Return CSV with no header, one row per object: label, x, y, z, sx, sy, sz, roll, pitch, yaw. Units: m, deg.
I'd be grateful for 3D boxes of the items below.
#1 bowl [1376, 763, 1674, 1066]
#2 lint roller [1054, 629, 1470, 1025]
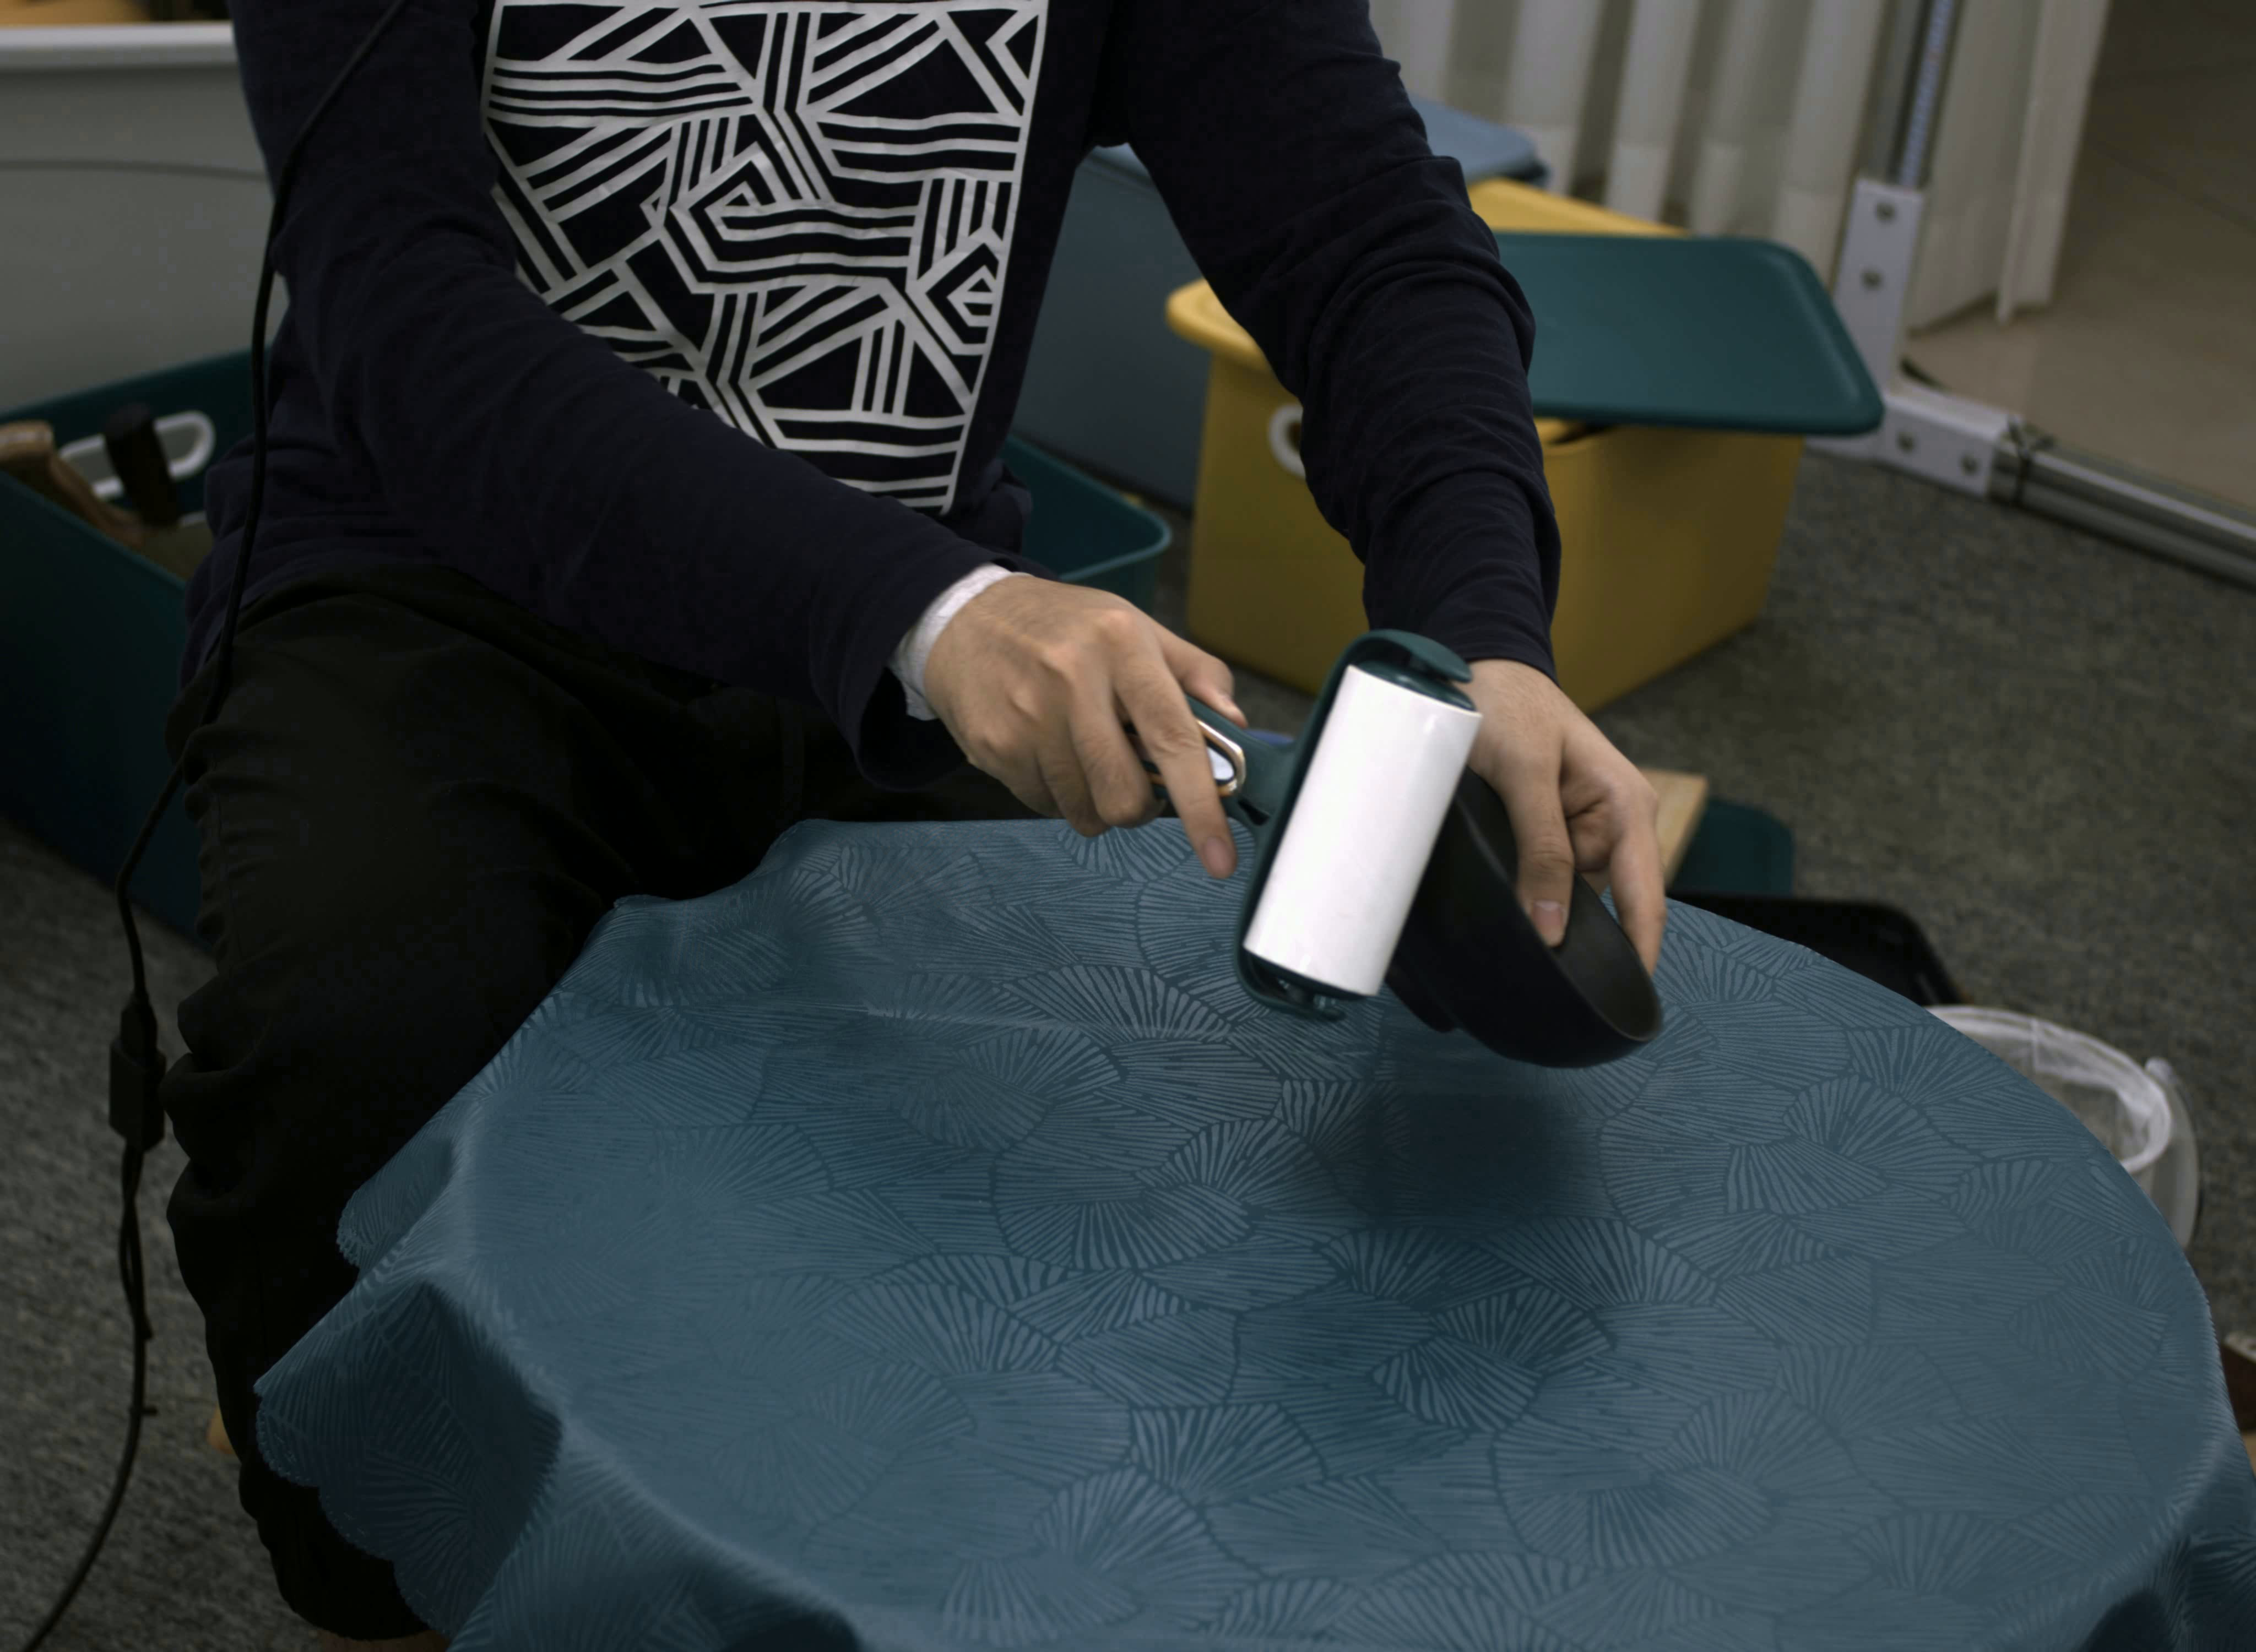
bowl,0.115,0.026,1.817,0.136,0.066,0.172,43,13,-40
lint roller,0.027,-0.019,1.789,0.181,0.134,0.048,23,5,40
